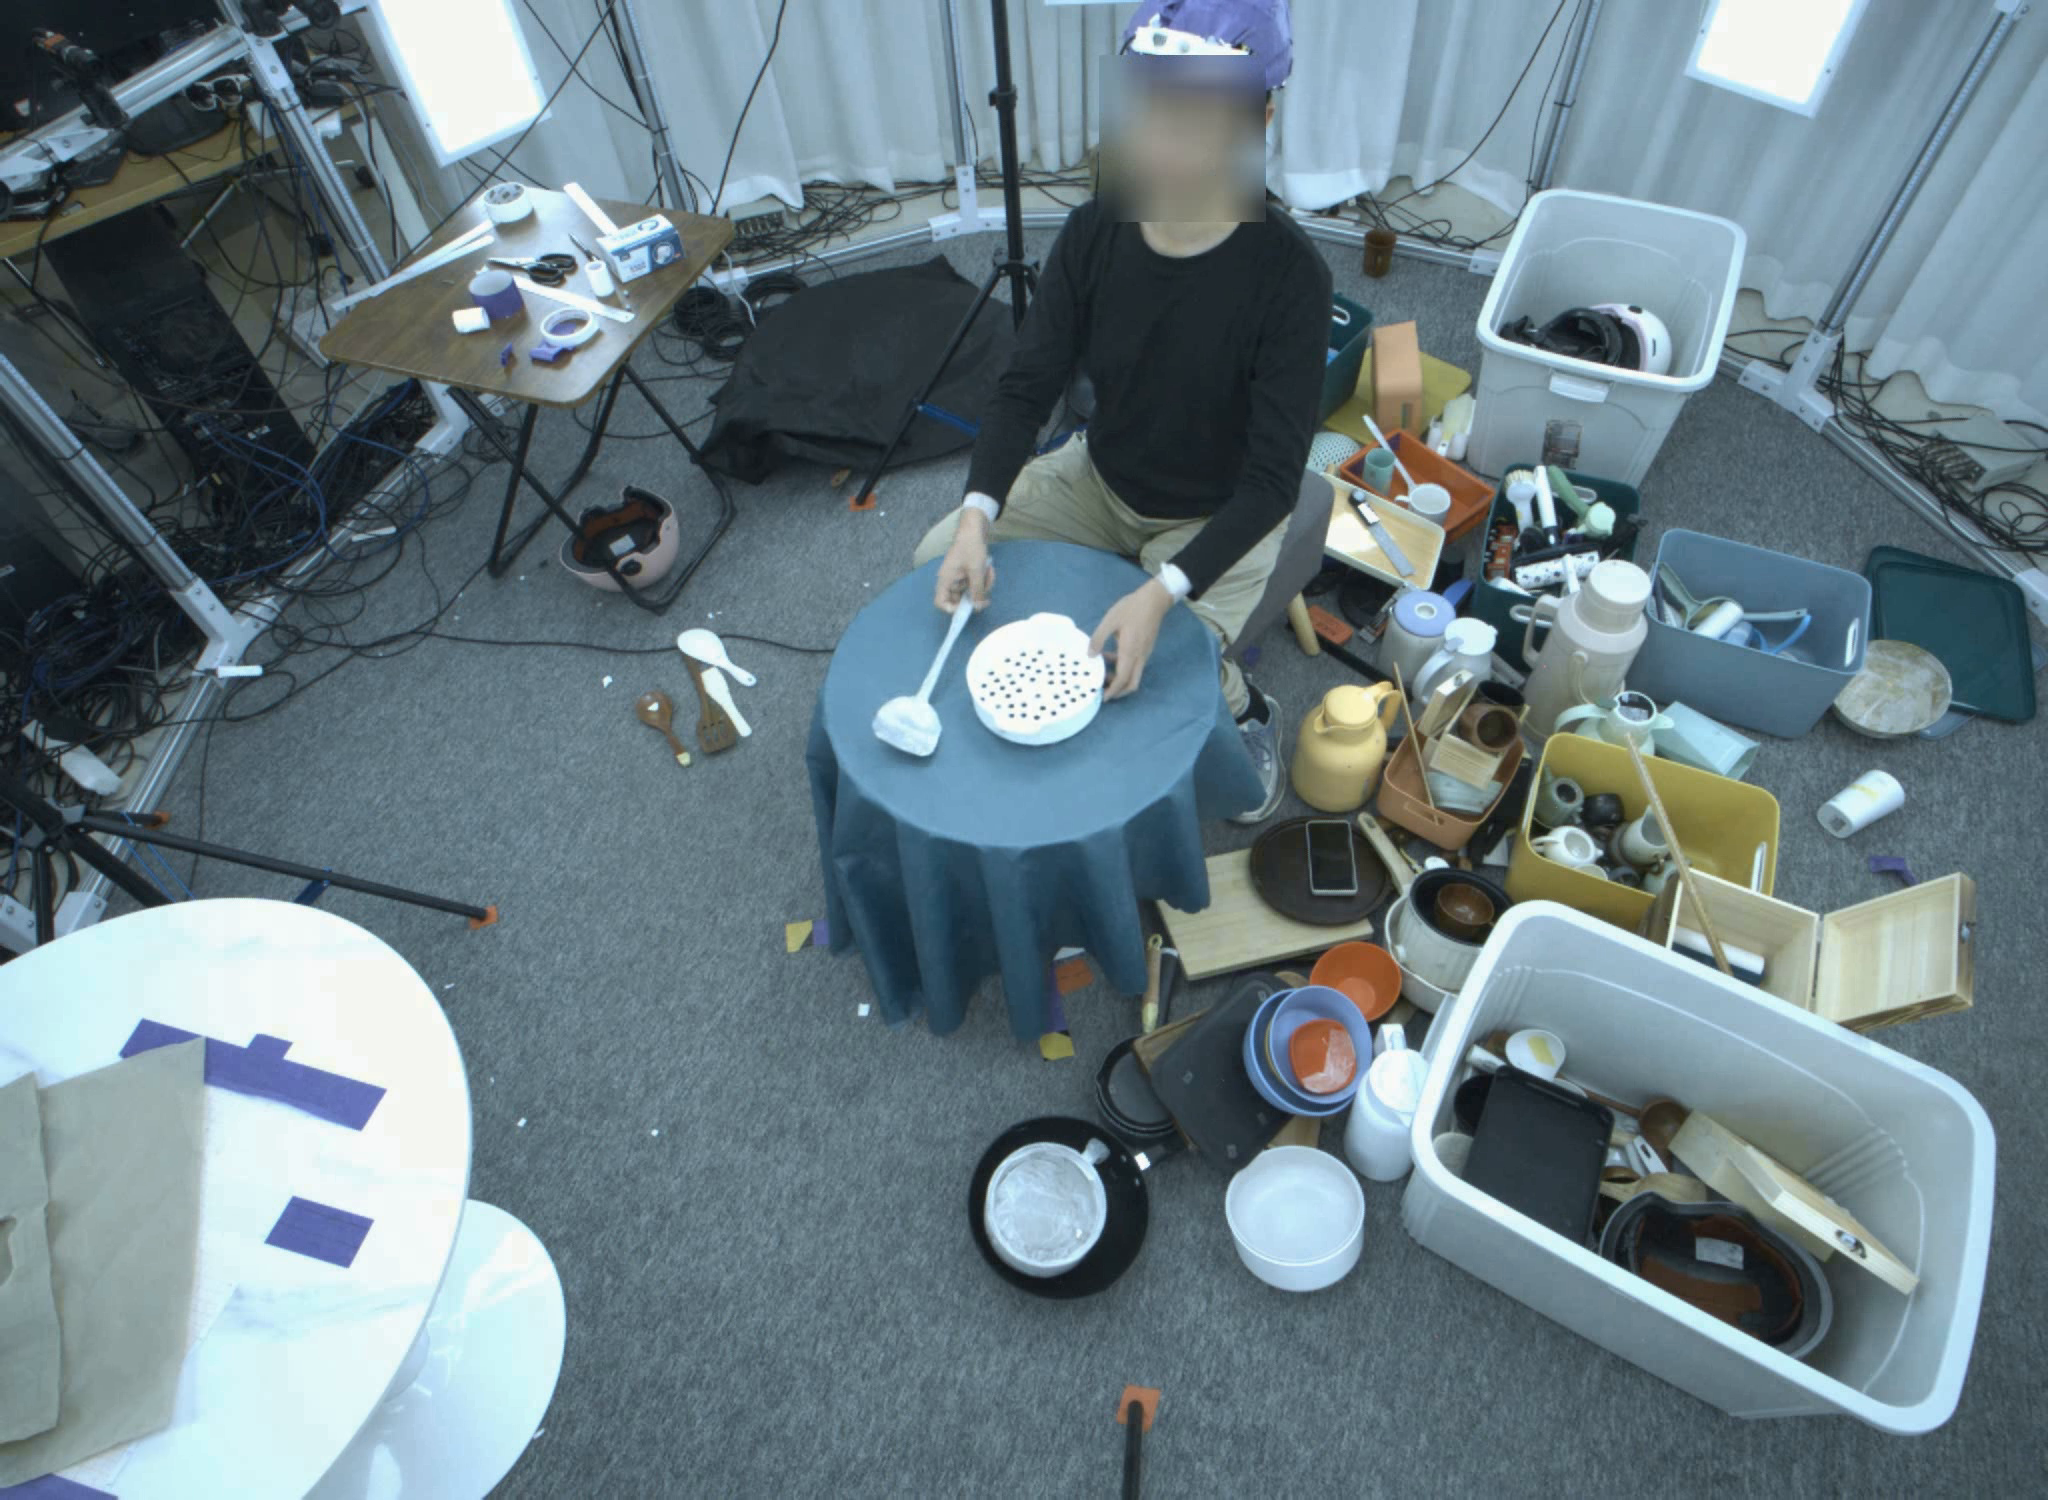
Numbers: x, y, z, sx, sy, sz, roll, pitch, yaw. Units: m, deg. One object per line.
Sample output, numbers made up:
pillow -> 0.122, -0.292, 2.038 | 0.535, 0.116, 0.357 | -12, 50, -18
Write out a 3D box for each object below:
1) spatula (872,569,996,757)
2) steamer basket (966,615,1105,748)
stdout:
spatula -> -0.117, -0.147, 1.845 | 0.099, 0.044, 0.364 | 26, 67, -5
steamer basket -> 0.017, -0.096, 1.812 | 0.200, 0.070, 0.230 | 12, 56, 9
